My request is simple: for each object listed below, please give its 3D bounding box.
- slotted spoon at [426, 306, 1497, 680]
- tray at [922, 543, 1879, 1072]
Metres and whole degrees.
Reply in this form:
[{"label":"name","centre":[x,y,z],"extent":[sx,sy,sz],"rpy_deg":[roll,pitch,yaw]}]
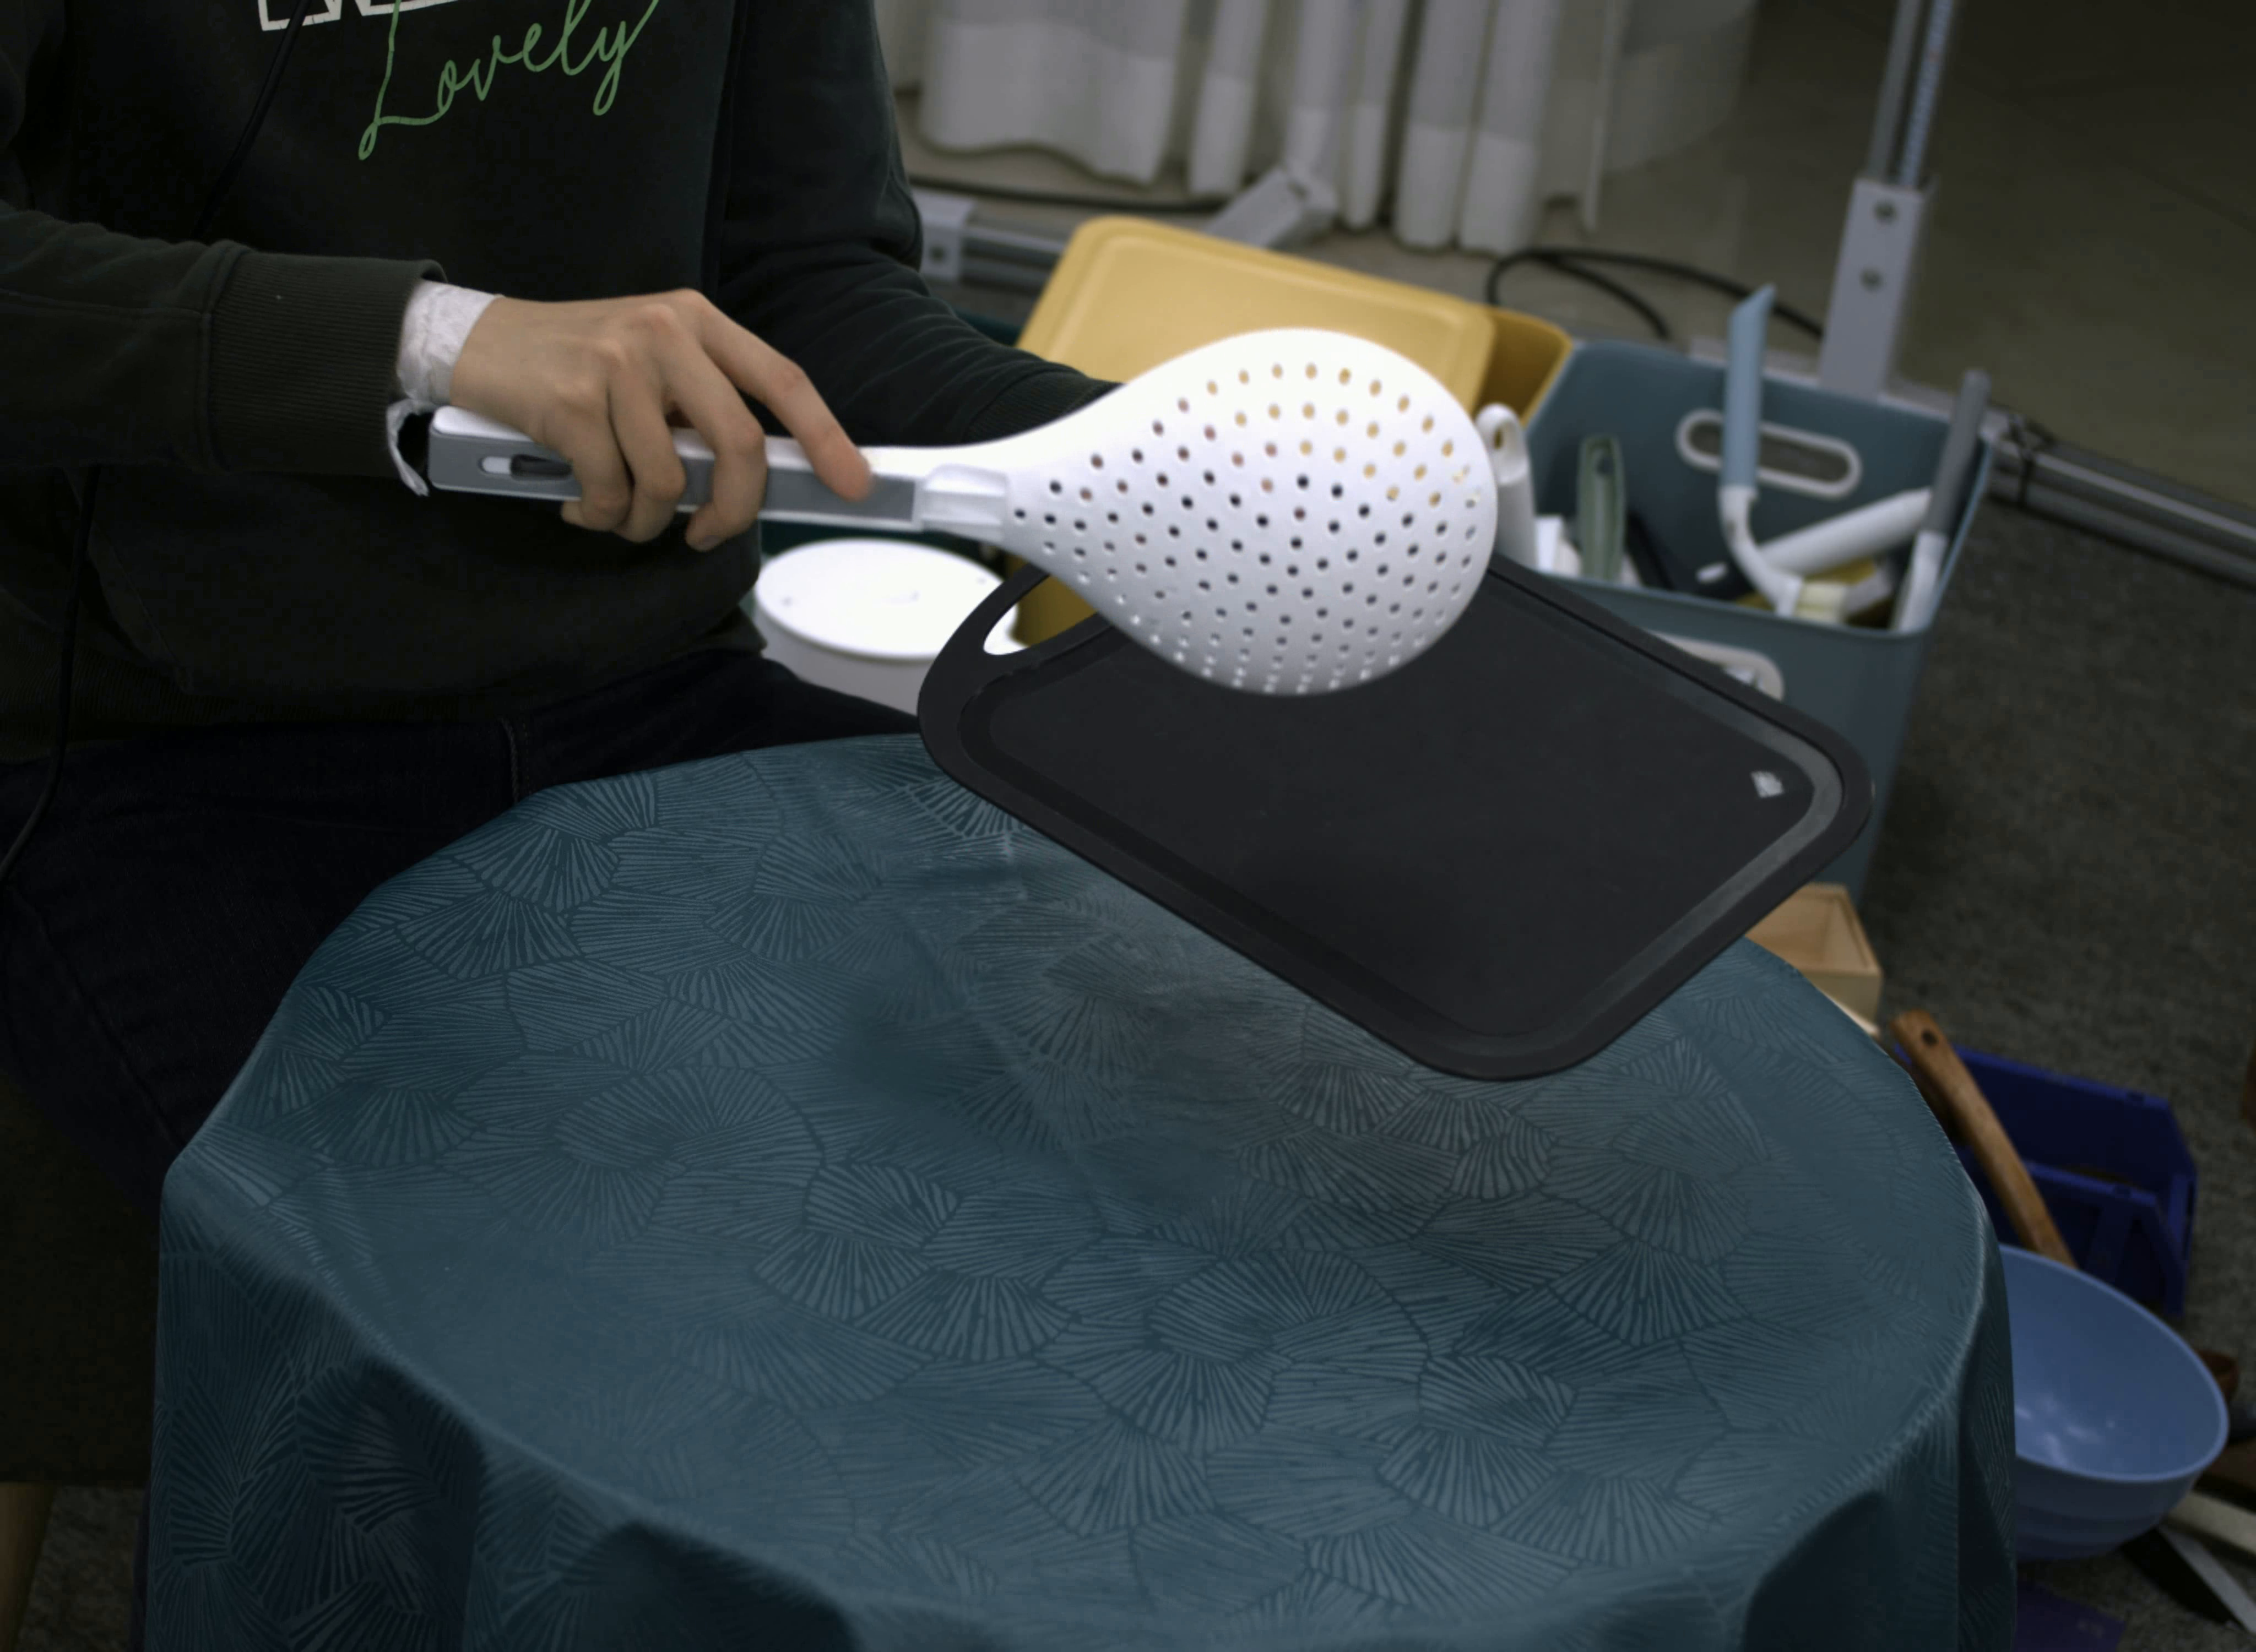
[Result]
[{"label":"slotted spoon","centre":[-0.054,-0.112,1.739],"extent":[0.349,0.135,0.046],"rpy_deg":[6,29,3]},{"label":"tray","centre":[0.083,-0.029,1.831],"extent":[0.211,0.010,0.328],"rpy_deg":[-35,48,-29]}]
